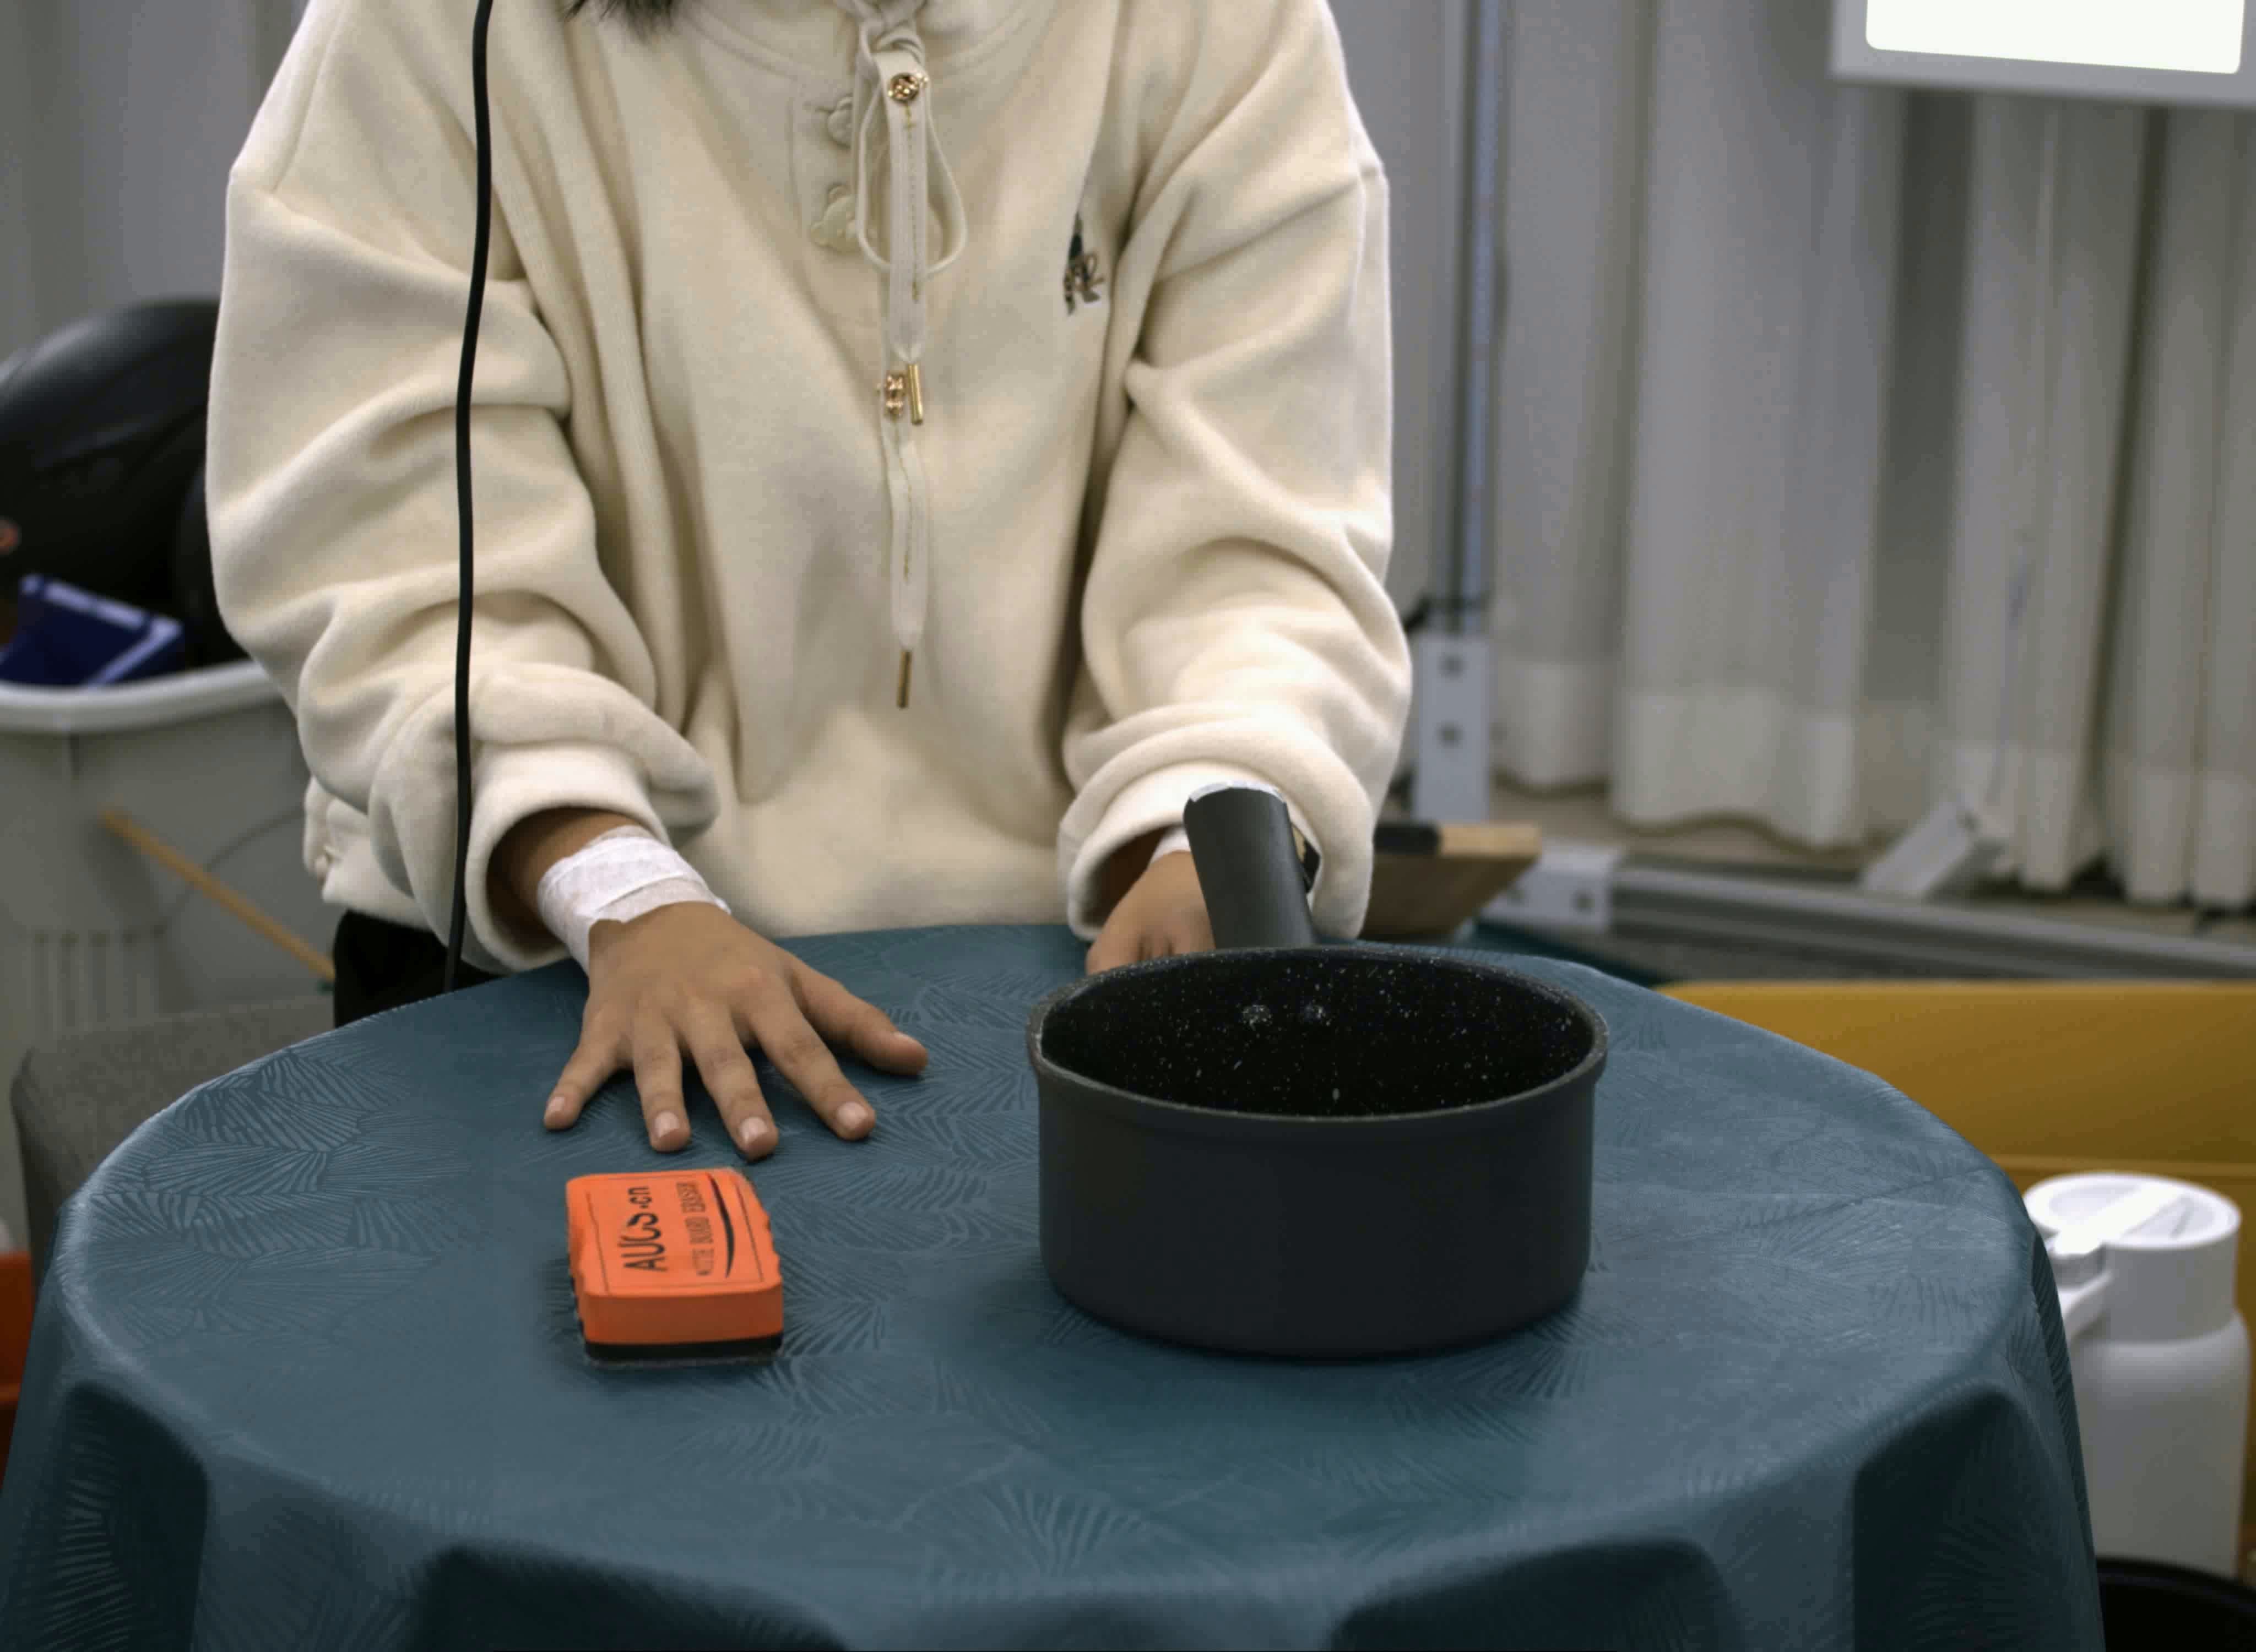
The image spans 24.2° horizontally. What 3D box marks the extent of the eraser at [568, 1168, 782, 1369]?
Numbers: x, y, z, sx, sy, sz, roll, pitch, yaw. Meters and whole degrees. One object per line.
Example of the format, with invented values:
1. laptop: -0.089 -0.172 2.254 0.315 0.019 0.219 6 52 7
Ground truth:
1. eraser: -0.132 0.127 1.520 0.059 0.023 0.107 -2 16 -7

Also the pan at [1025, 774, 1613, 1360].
1. pan: 0.052 0.070 1.619 0.171 0.087 0.326 0 17 -2
